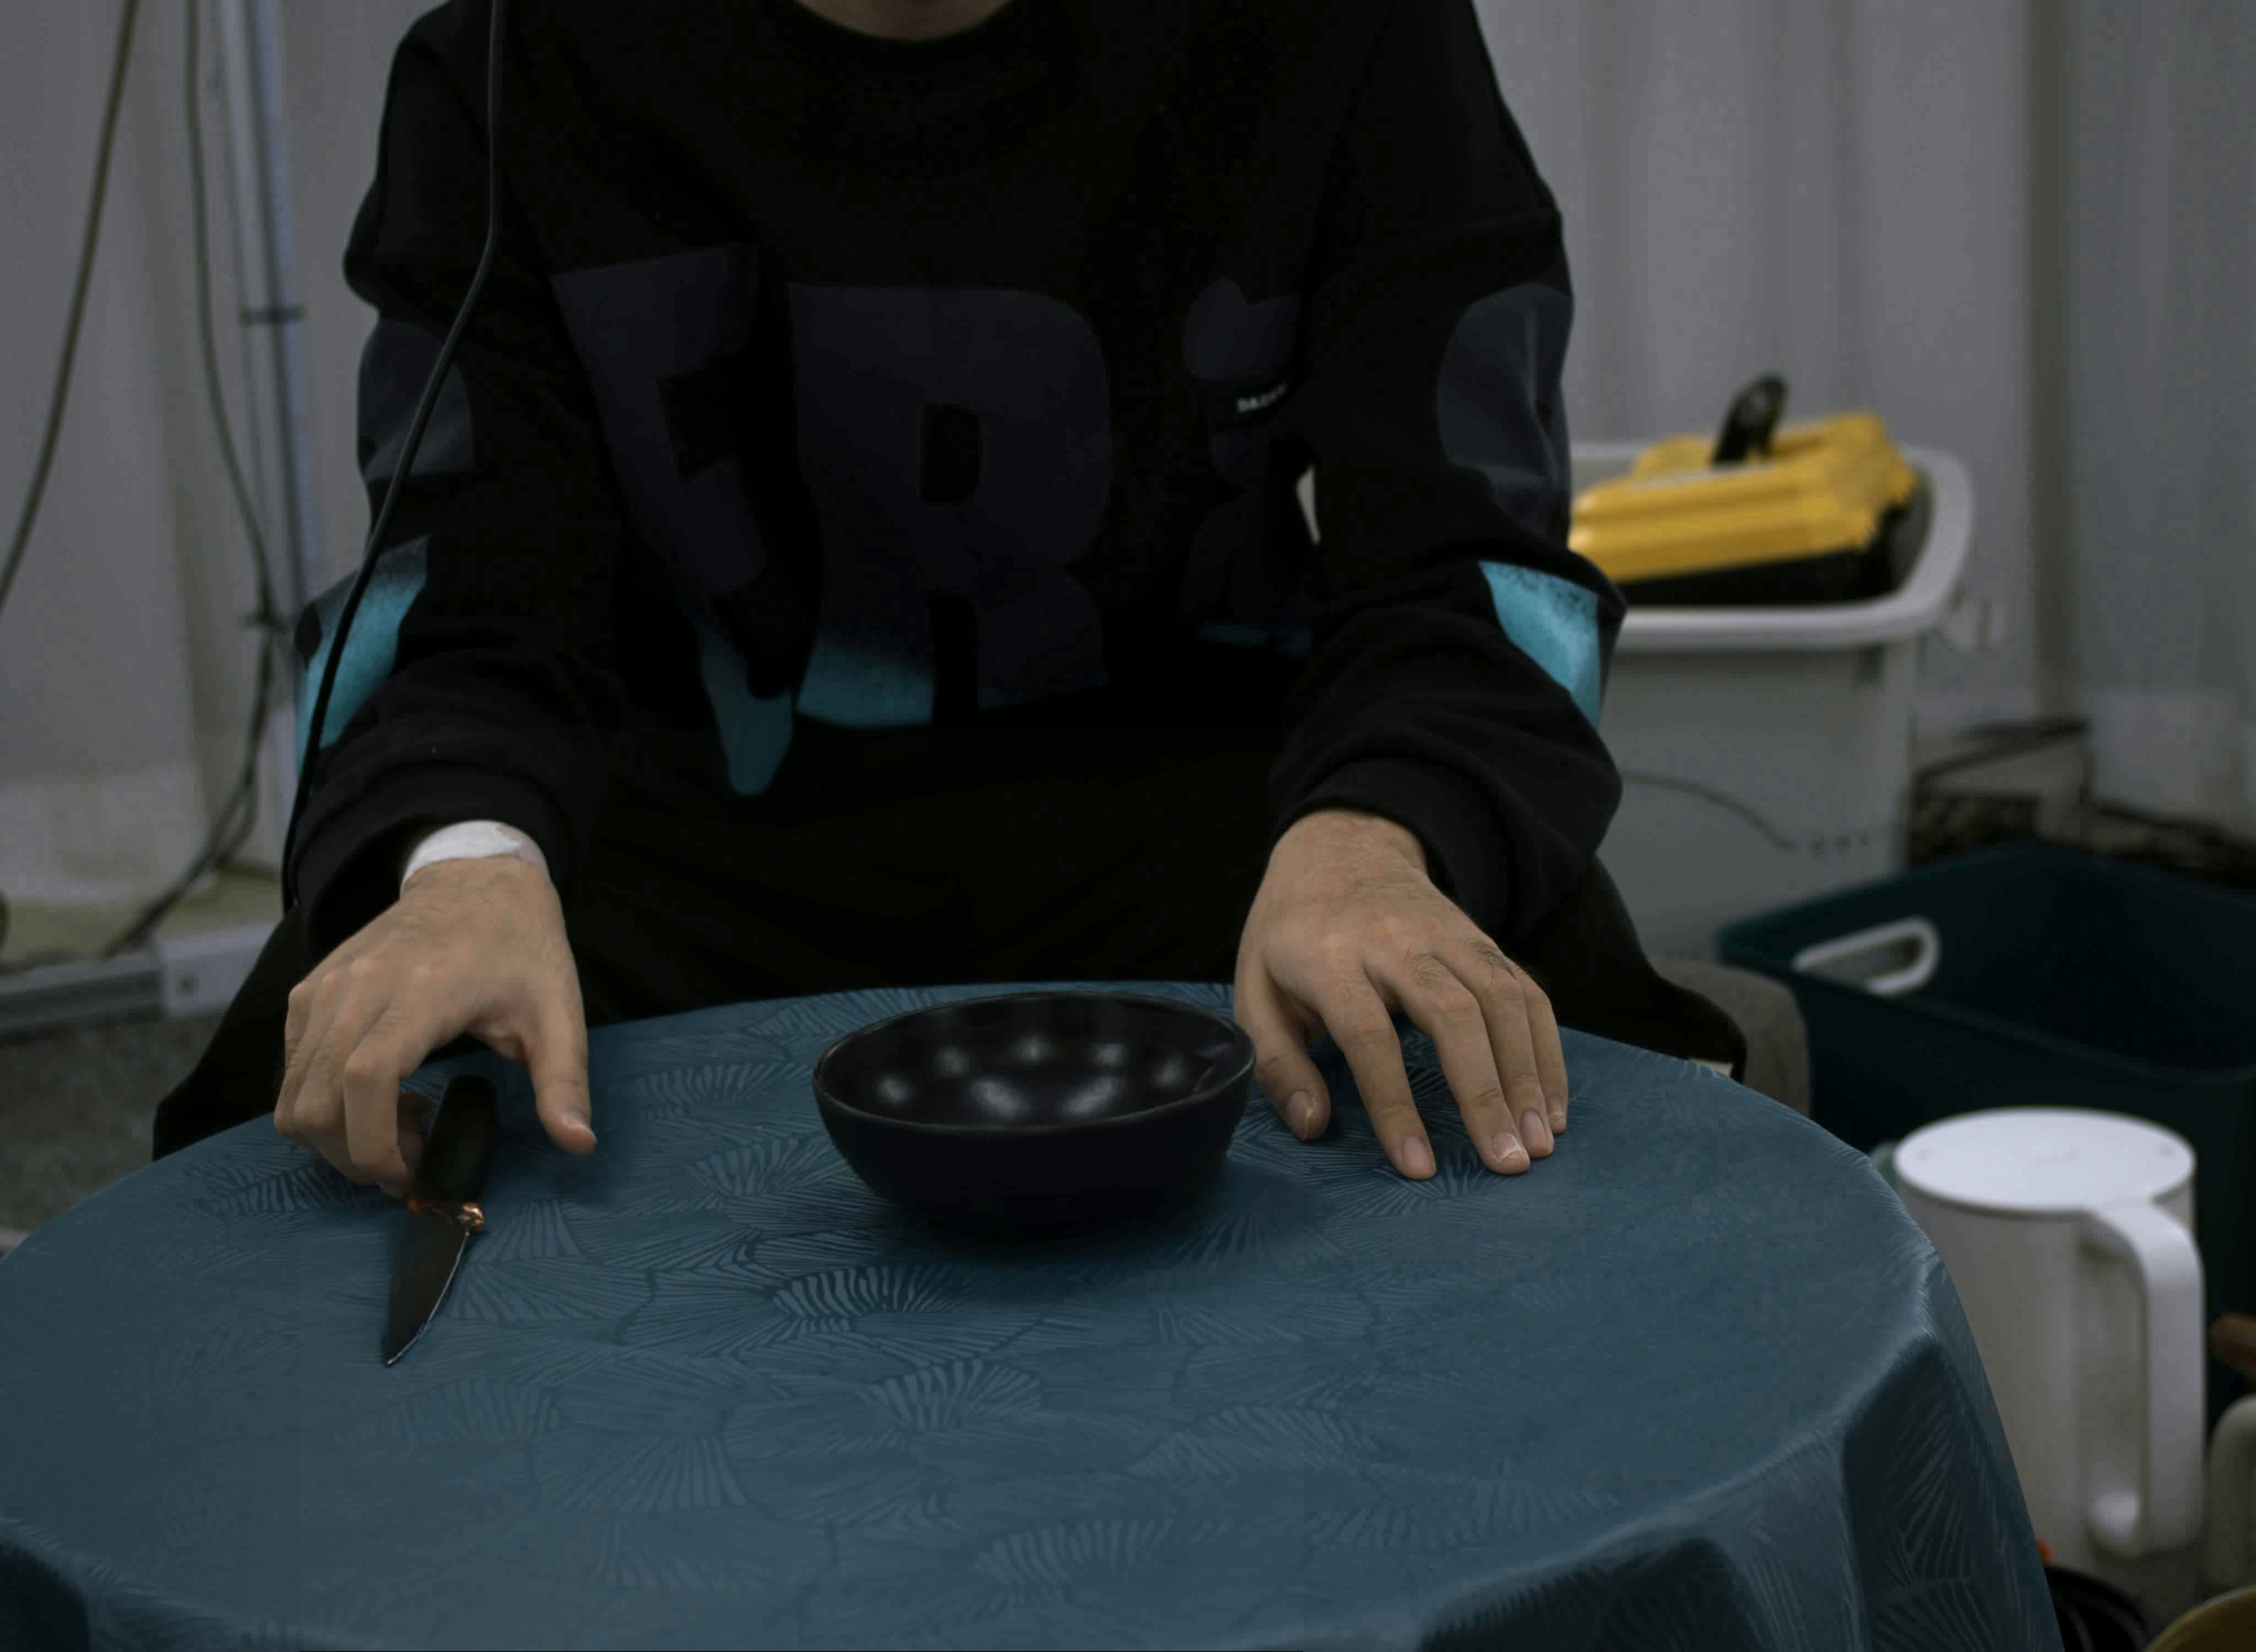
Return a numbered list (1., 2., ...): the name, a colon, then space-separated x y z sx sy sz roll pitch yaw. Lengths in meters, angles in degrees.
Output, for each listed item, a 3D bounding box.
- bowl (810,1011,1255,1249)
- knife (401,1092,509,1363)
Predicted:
1. bowl: -0.028 0.098 1.699 0.139 0.049 0.141 -5 11 1
2. knife: -0.212 0.124 1.700 0.026 0.017 0.227 0 16 -1
